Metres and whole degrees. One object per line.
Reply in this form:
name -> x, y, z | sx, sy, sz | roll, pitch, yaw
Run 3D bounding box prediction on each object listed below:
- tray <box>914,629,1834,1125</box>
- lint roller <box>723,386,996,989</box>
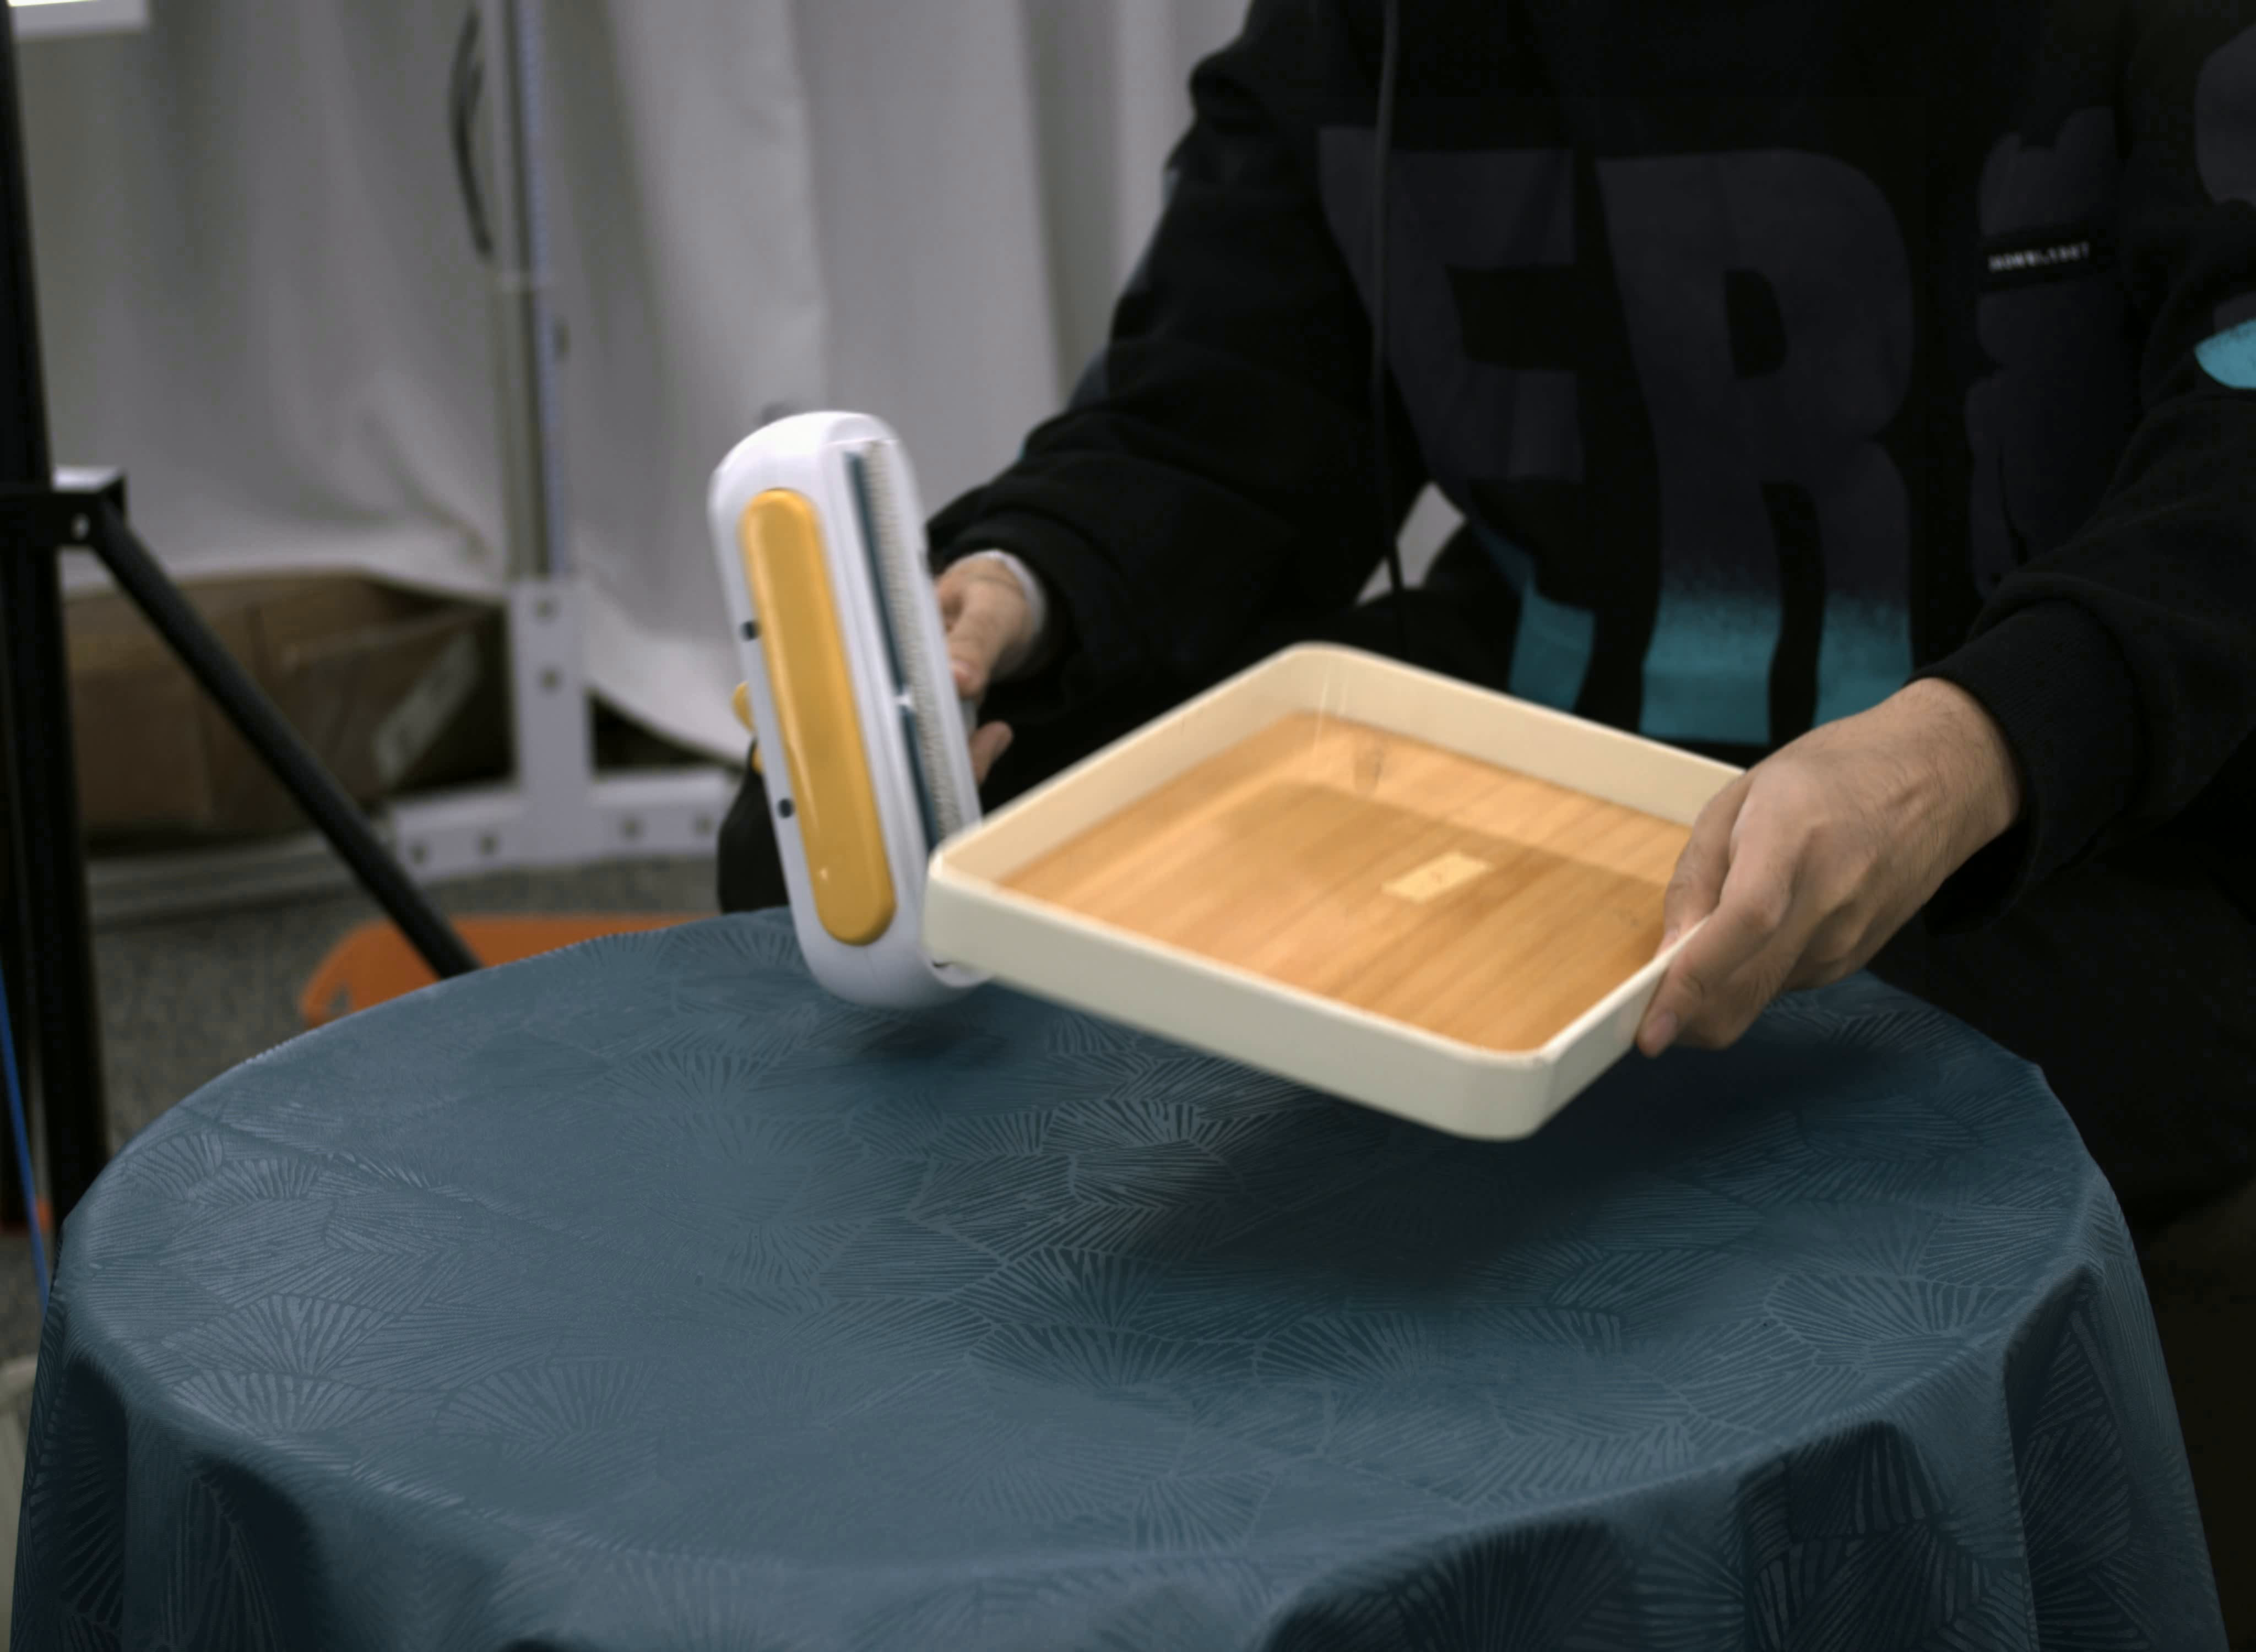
tray -> 0.080, 0.009, 1.577 | 0.194, 0.027, 0.295 | 19, 21, 21
lint roller -> -0.071, -0.040, 1.757 | 0.075, 0.194, 0.189 | -15, -7, 18
